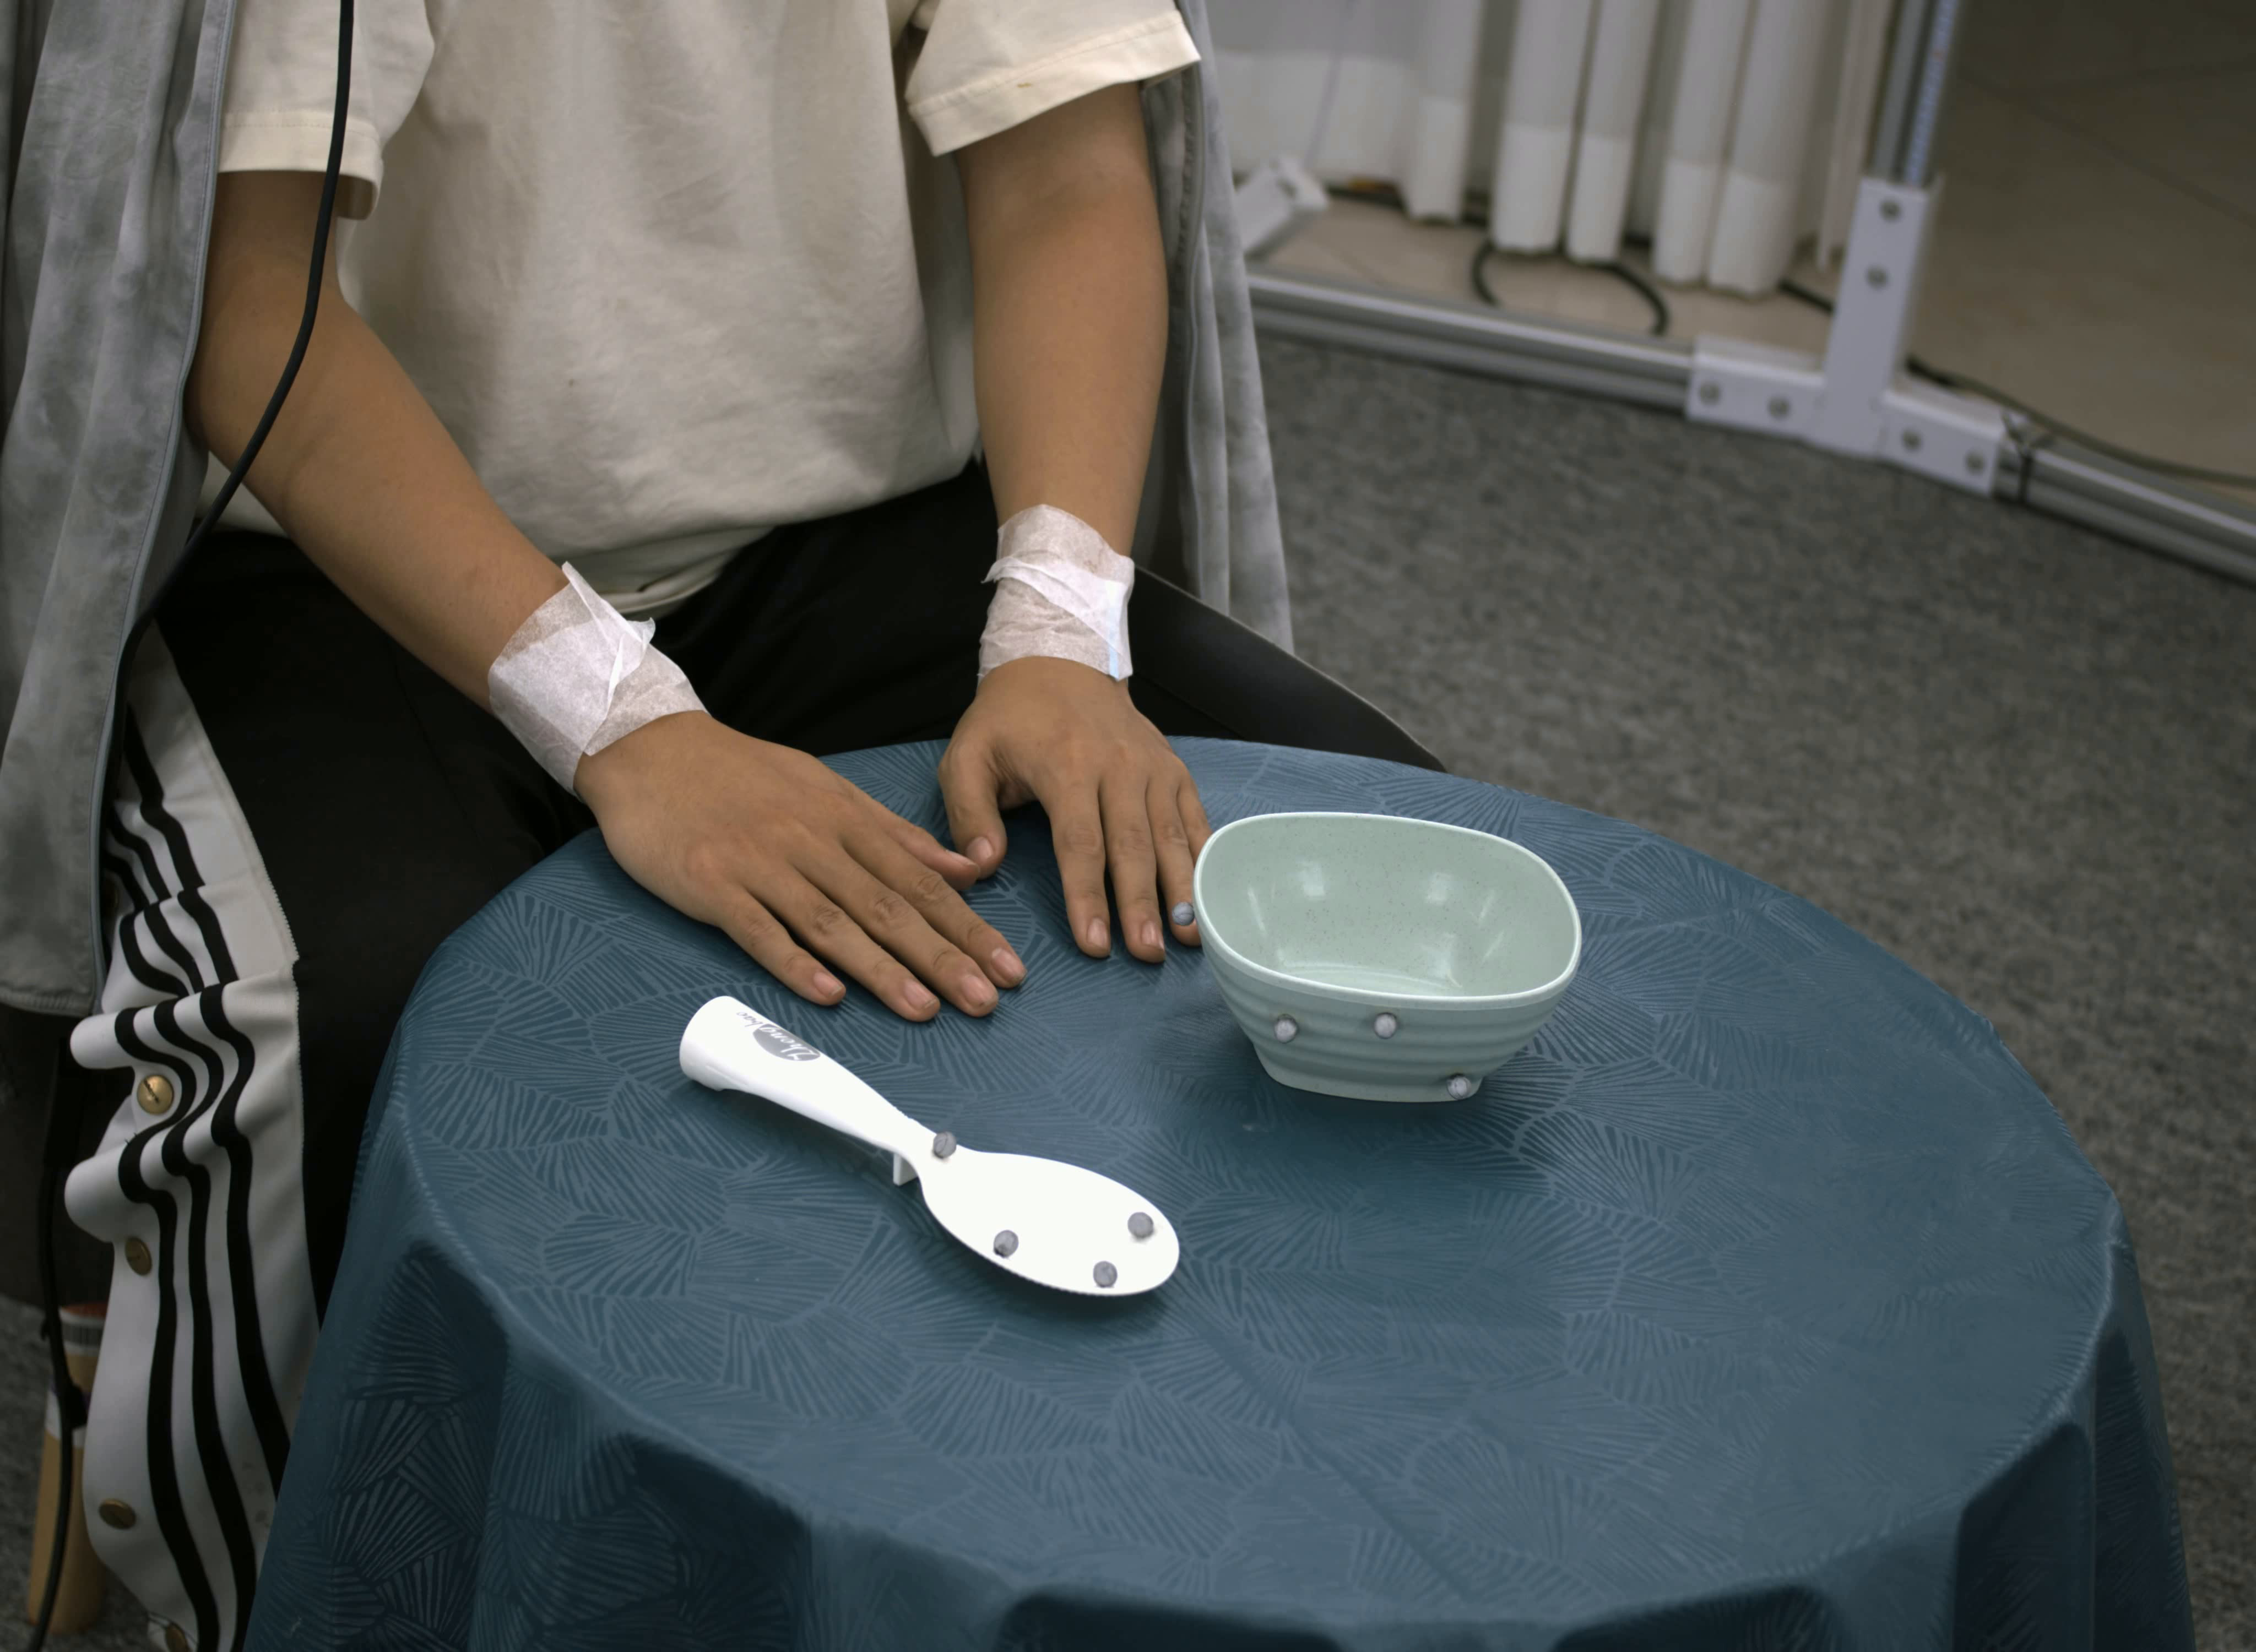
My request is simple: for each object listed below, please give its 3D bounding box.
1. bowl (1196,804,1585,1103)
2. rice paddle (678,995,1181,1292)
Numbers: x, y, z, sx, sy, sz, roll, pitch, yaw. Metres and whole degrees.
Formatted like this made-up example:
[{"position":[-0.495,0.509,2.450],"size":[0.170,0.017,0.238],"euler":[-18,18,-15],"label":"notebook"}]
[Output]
[{"position":[0.091,0.052,1.901],"size":[0.151,0.058,0.152],"euler":[3,30,-2],"label":"bowl"},{"position":[-0.067,0.108,1.786],"size":[0.206,0.029,0.068],"euler":[25,34,33],"label":"rice paddle"}]
